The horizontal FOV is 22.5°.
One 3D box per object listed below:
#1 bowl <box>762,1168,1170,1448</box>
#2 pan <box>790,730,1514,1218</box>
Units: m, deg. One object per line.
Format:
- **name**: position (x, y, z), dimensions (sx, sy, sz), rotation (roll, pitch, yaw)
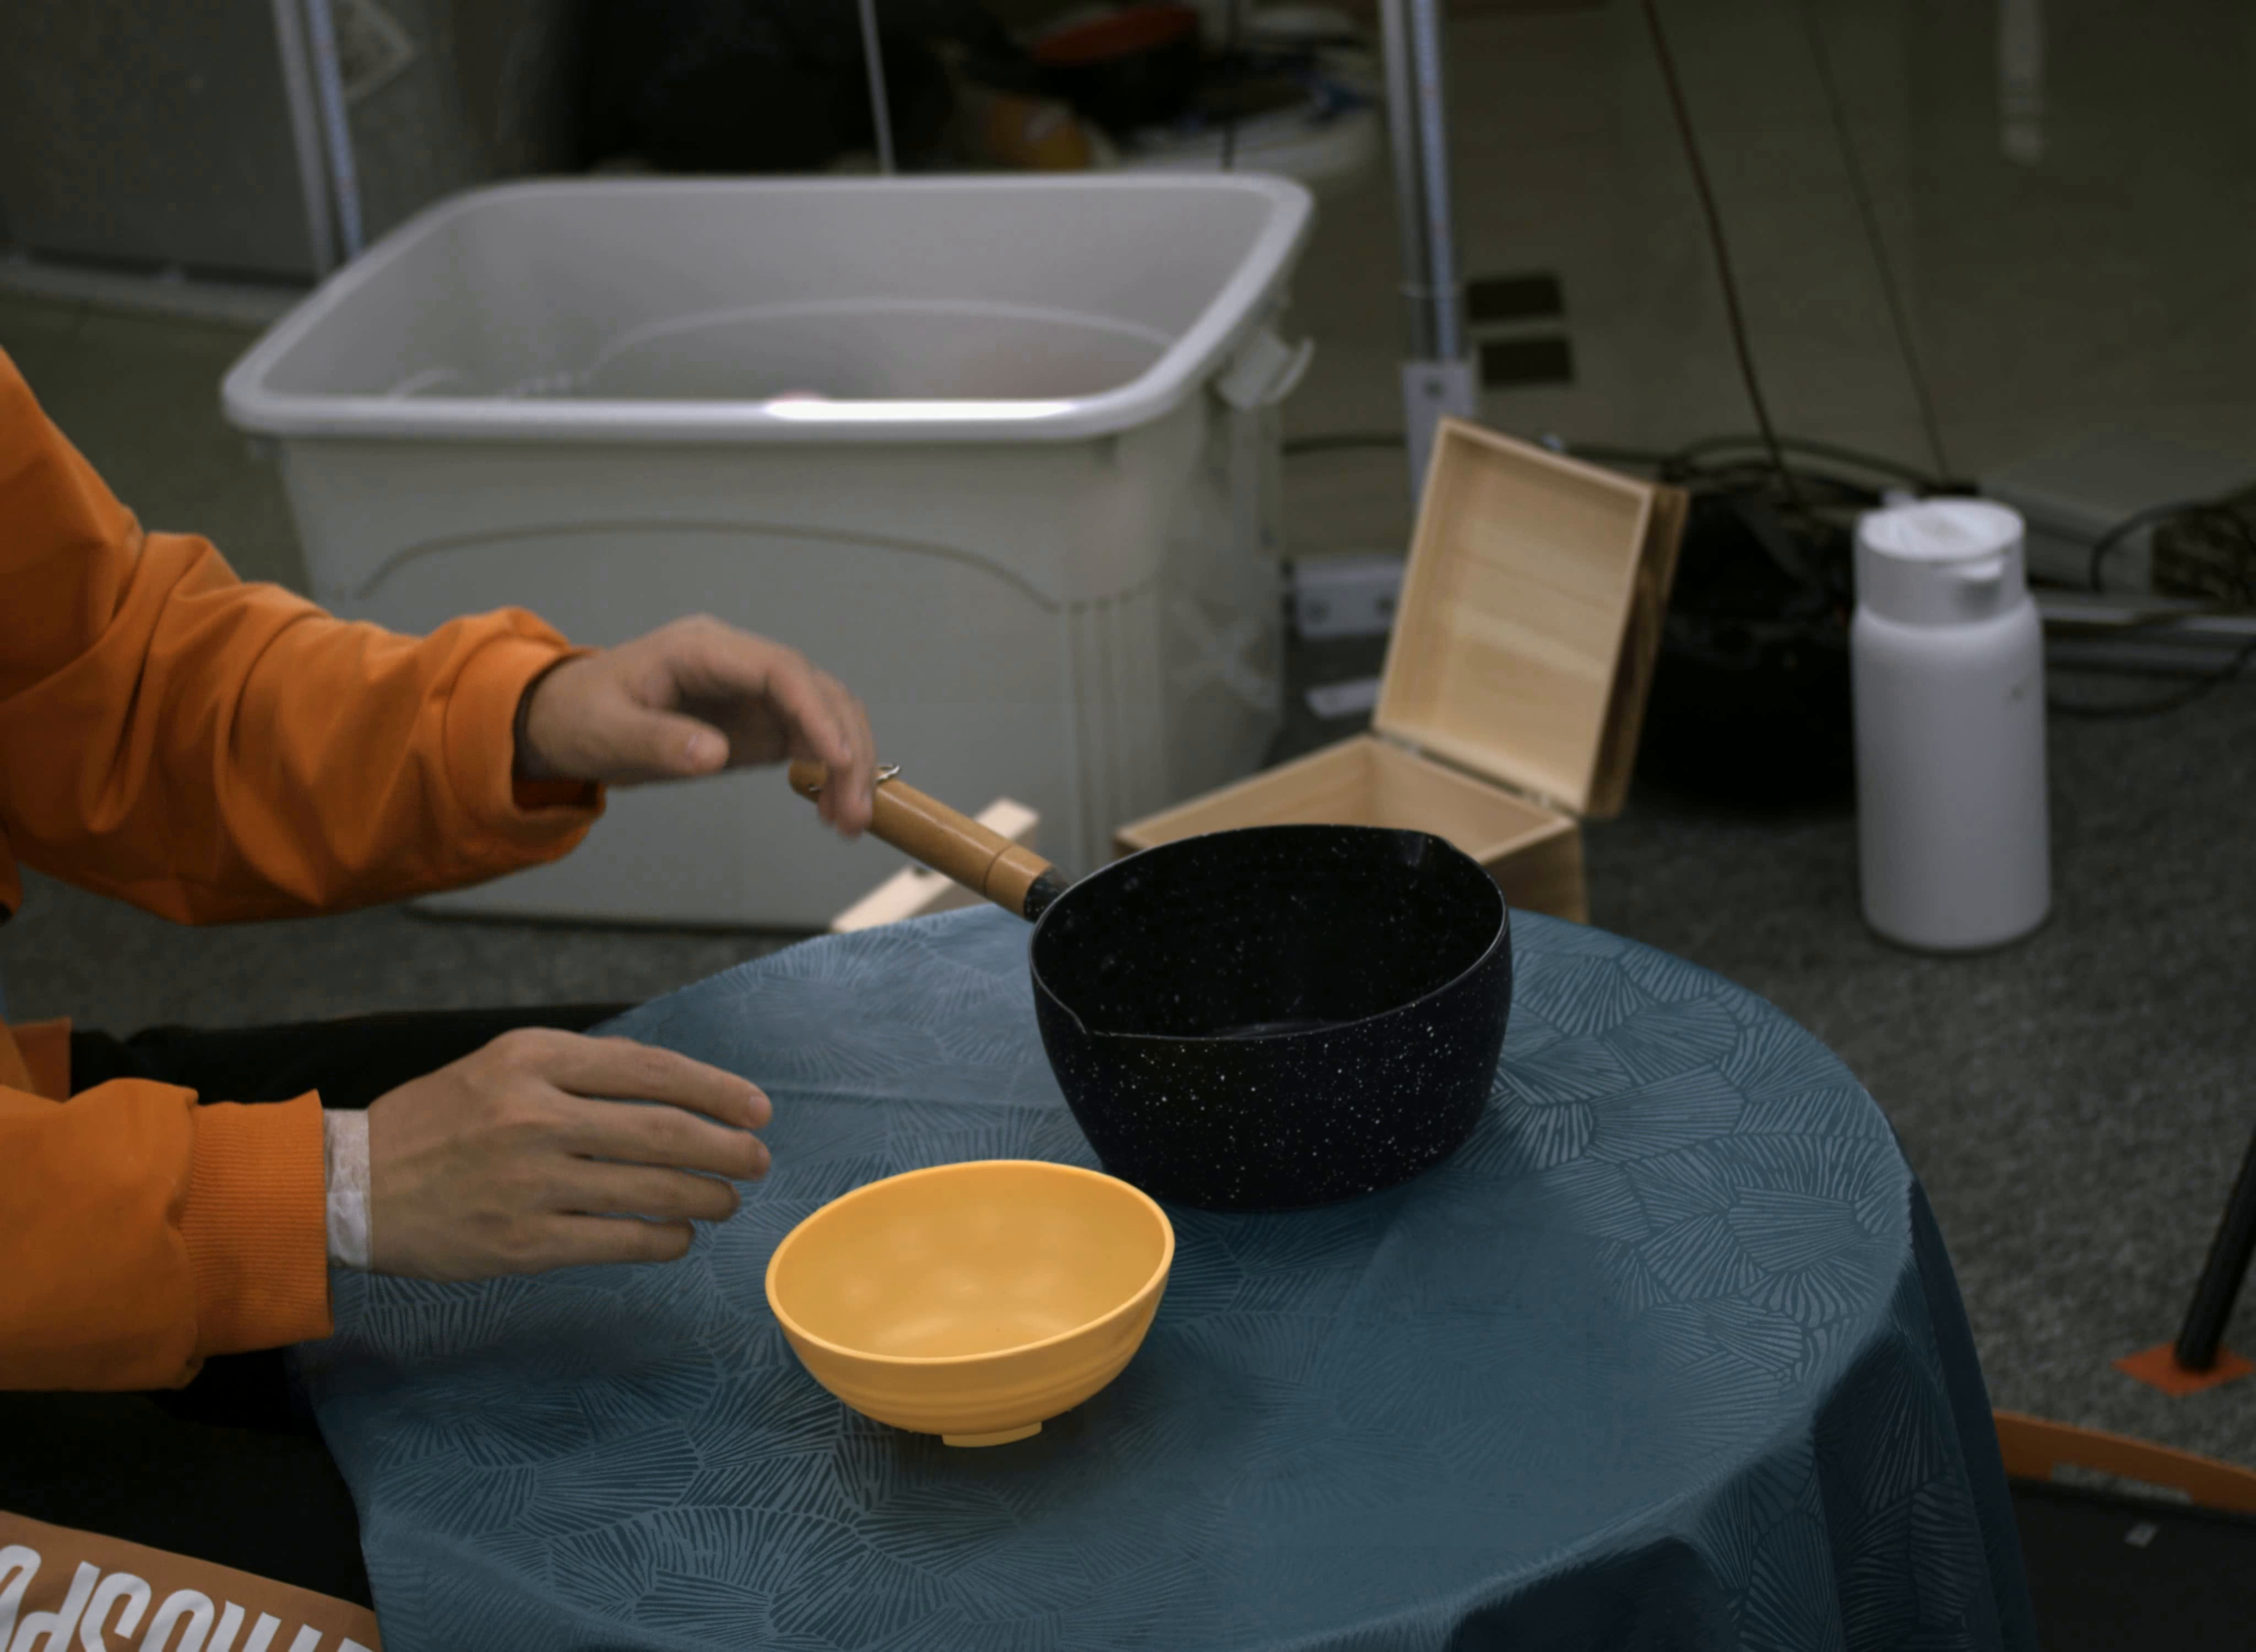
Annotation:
- **bowl**: position (-0.055, 0.178, 2.006), dimensions (0.145, 0.061, 0.143), rotation (-5, 24, 2)
- **pan**: position (-0.003, 0.049, 2.211), dimensions (0.340, 0.110, 0.205), rotation (17, 35, 38)
